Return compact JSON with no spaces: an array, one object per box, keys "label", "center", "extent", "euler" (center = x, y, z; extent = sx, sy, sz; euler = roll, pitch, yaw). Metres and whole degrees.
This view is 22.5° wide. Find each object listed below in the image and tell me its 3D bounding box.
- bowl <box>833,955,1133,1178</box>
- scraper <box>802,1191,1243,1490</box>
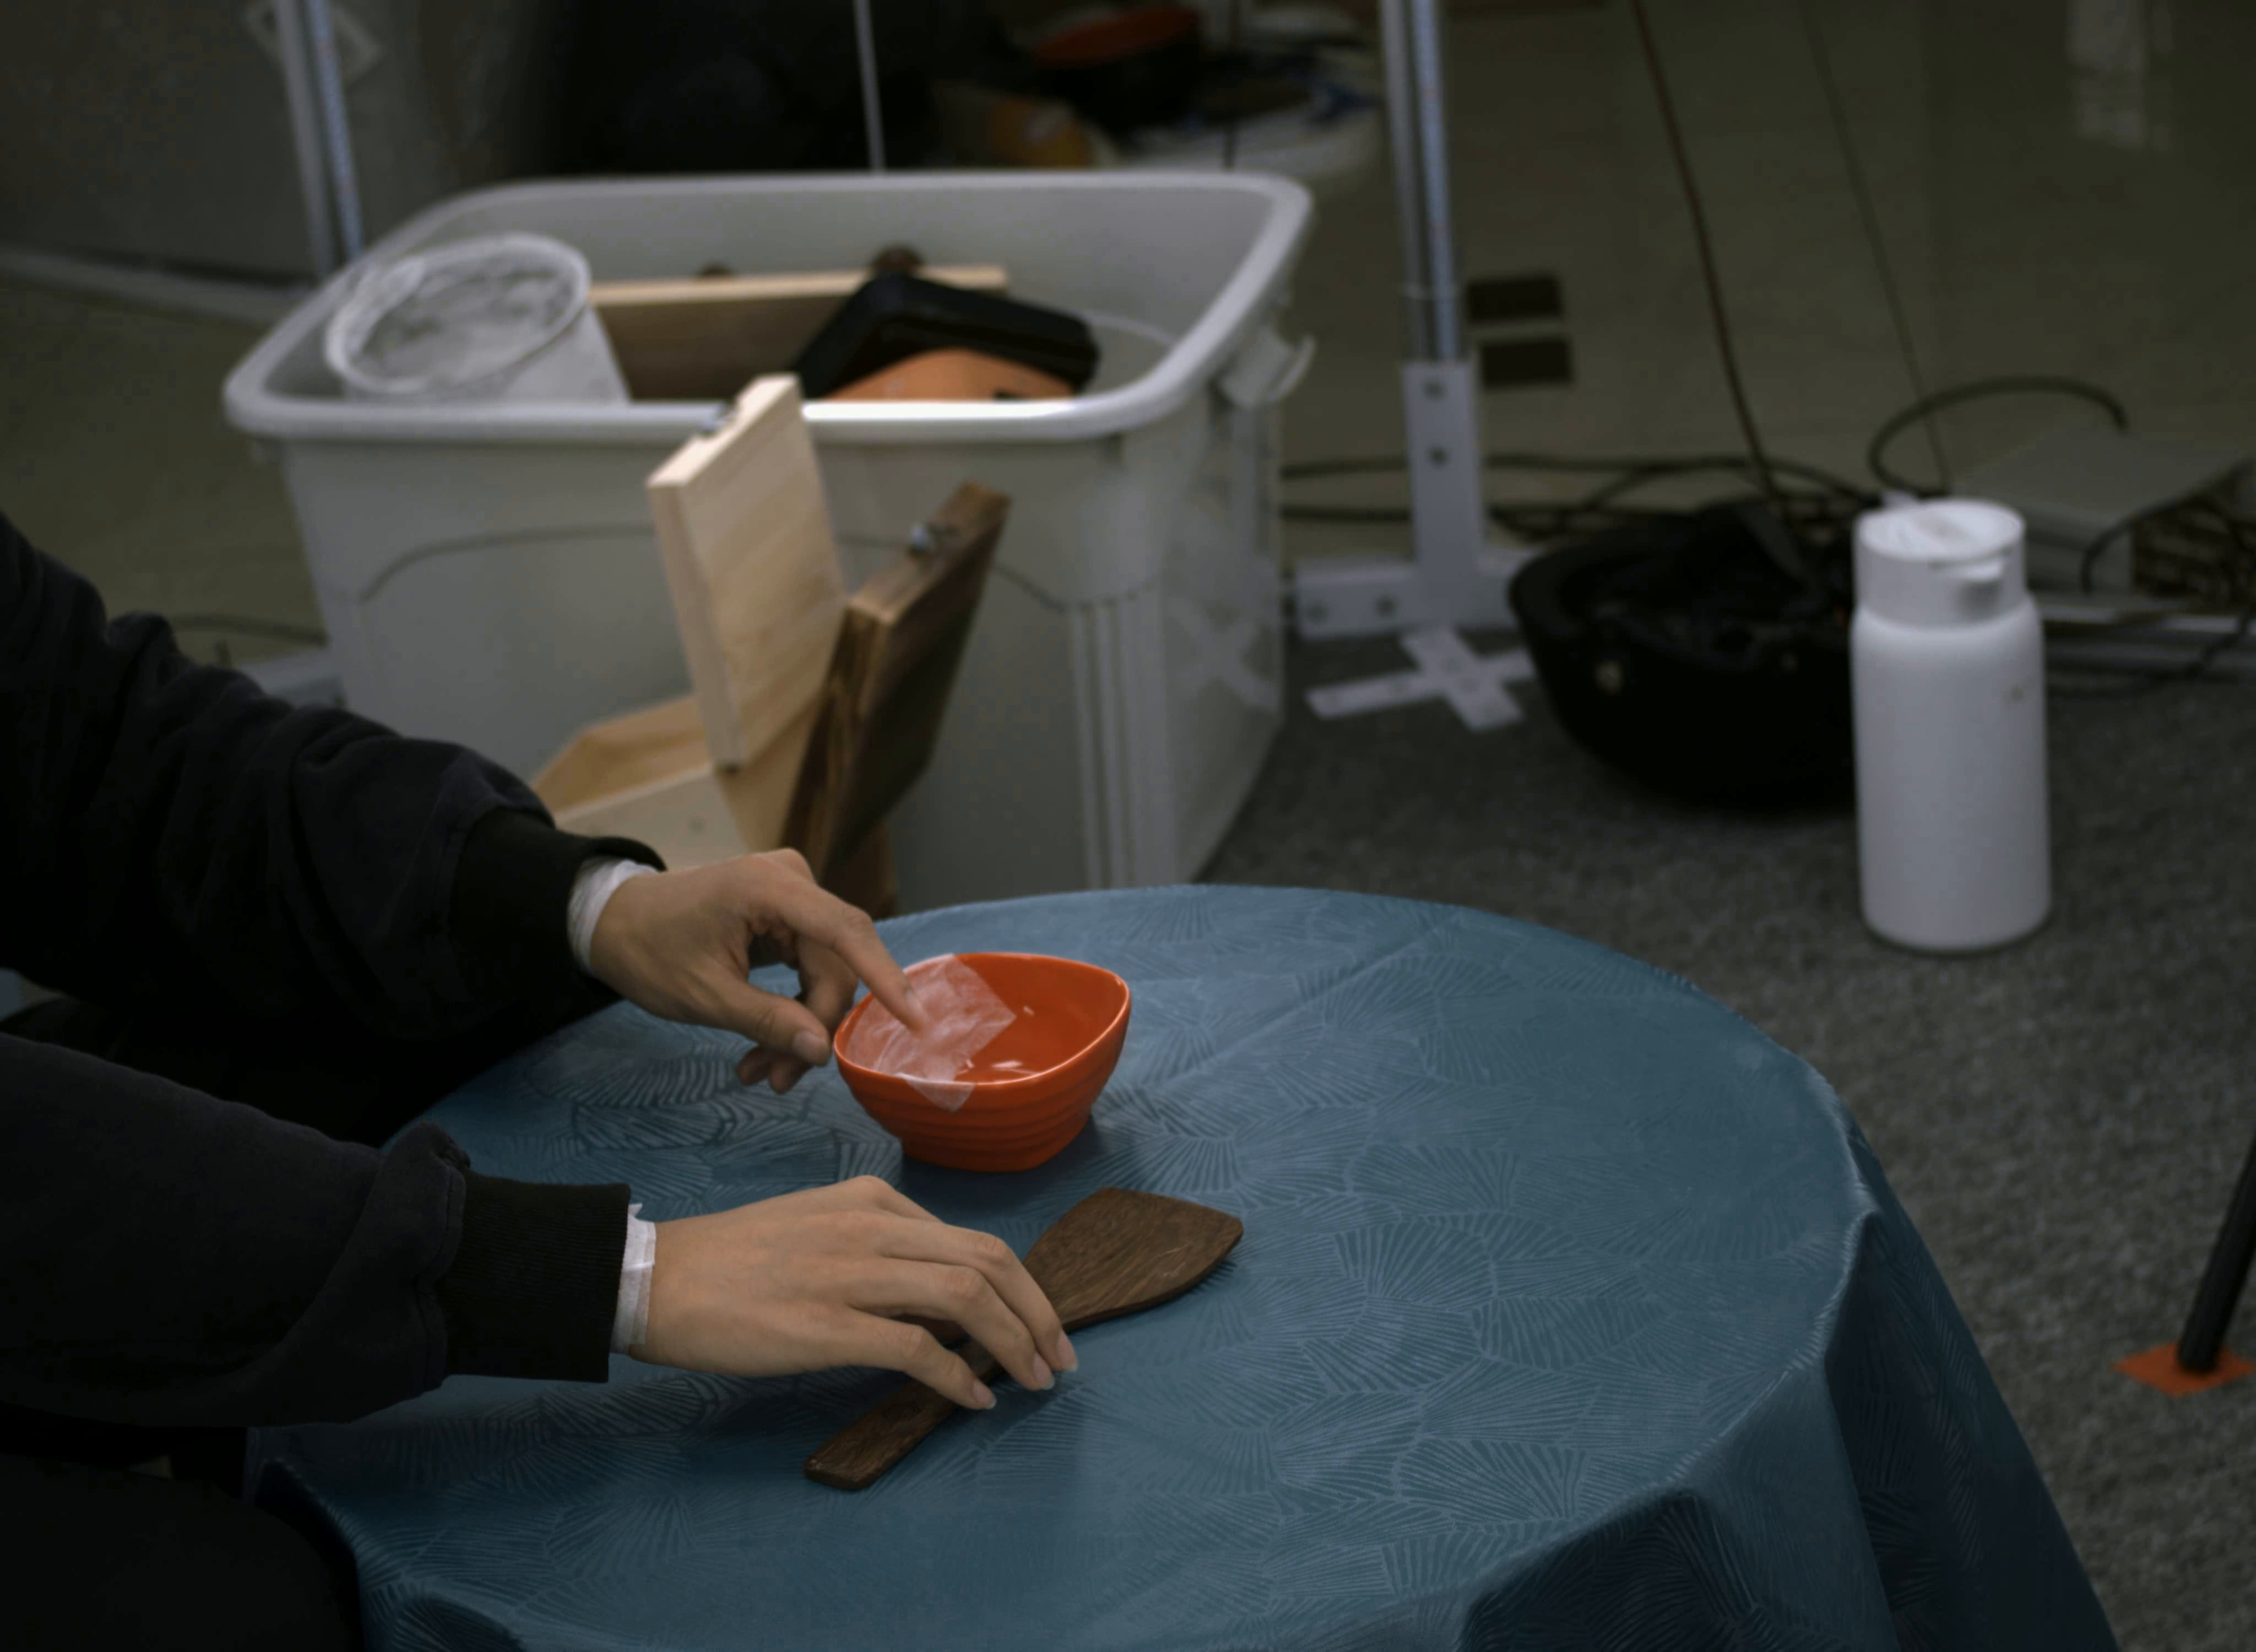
[{"label":"bowl","center":[-0.054,0.098,2.197],"extent":[0.119,0.052,0.117],"euler":[-4,26,2]},{"label":"scraper","center":[-0.044,0.187,2.052],"extent":[0.075,0.011,0.209],"euler":[12,31,36]}]
